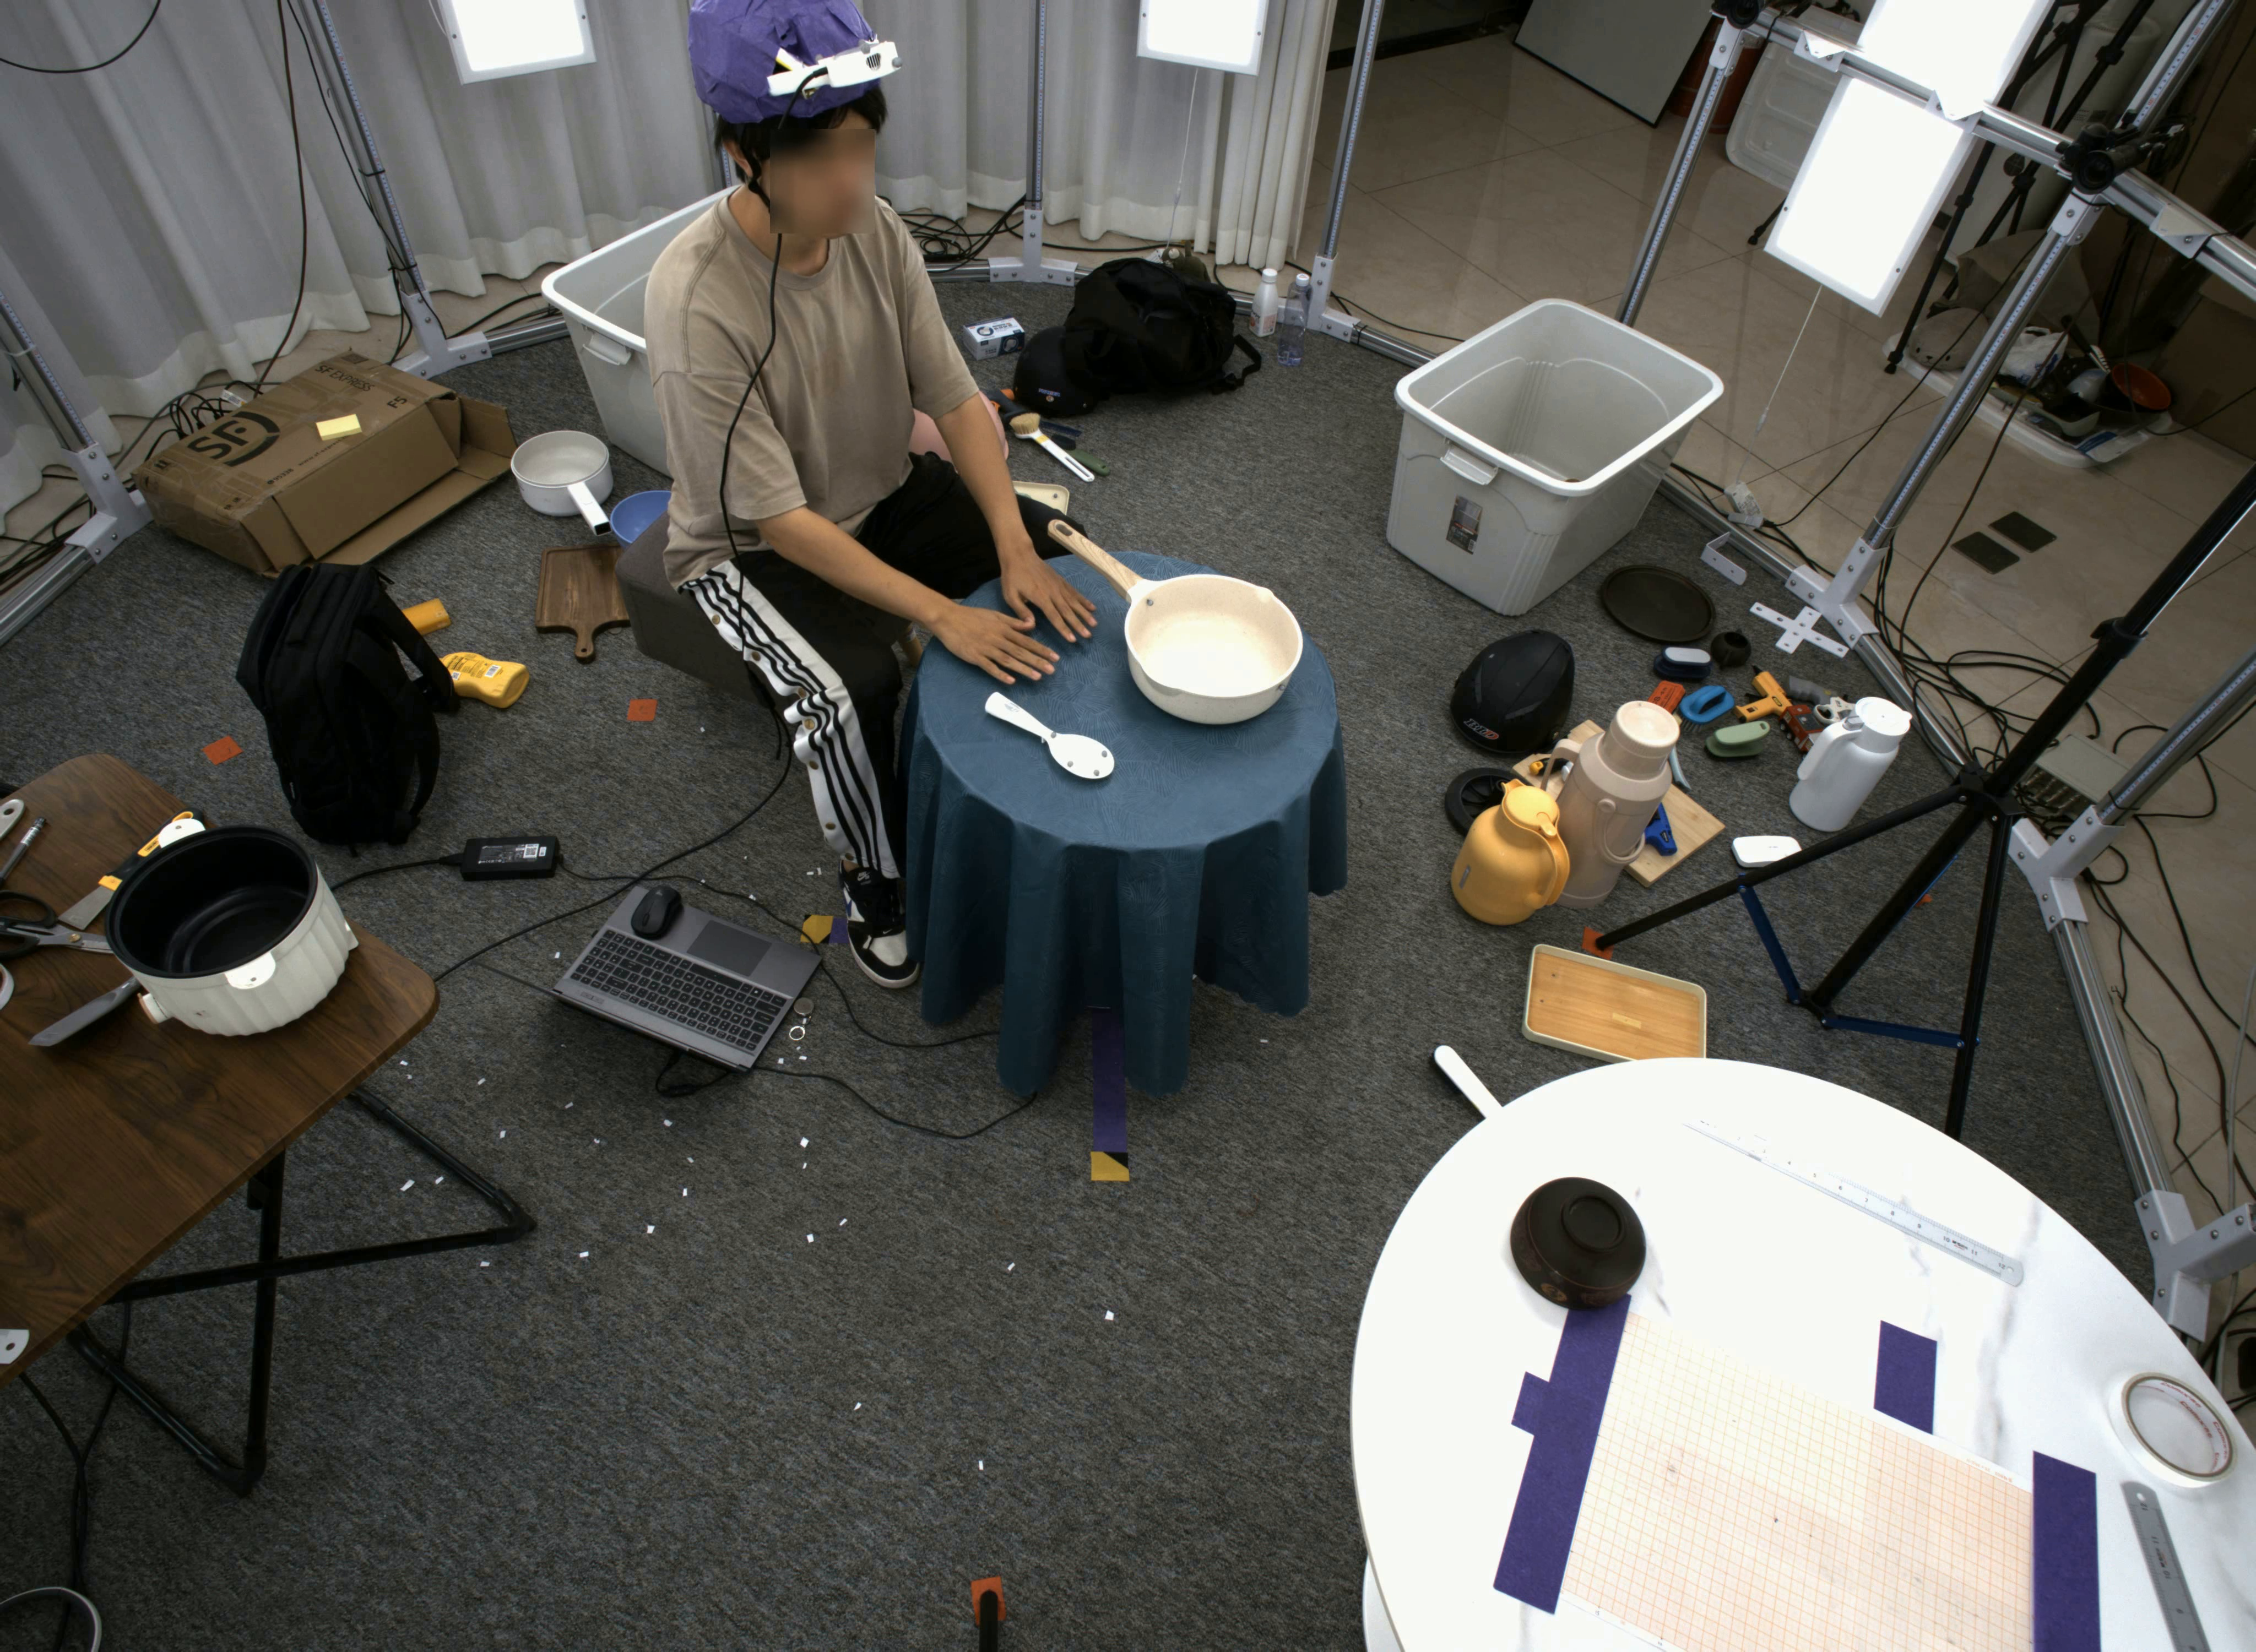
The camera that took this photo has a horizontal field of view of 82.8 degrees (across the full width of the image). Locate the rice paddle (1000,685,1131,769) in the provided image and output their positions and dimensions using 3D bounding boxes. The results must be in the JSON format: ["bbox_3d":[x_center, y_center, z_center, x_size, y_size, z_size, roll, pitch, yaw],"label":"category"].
[{"bbox_3d":[-0.084,-0.134,1.740,0.207,0.029,0.070,30,51,20],"label":"rice paddle"}]

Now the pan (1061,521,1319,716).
[{"bbox_3d":[0.072,-0.311,1.871,0.440,0.099,0.266,34,56,23],"label":"pan"}]
